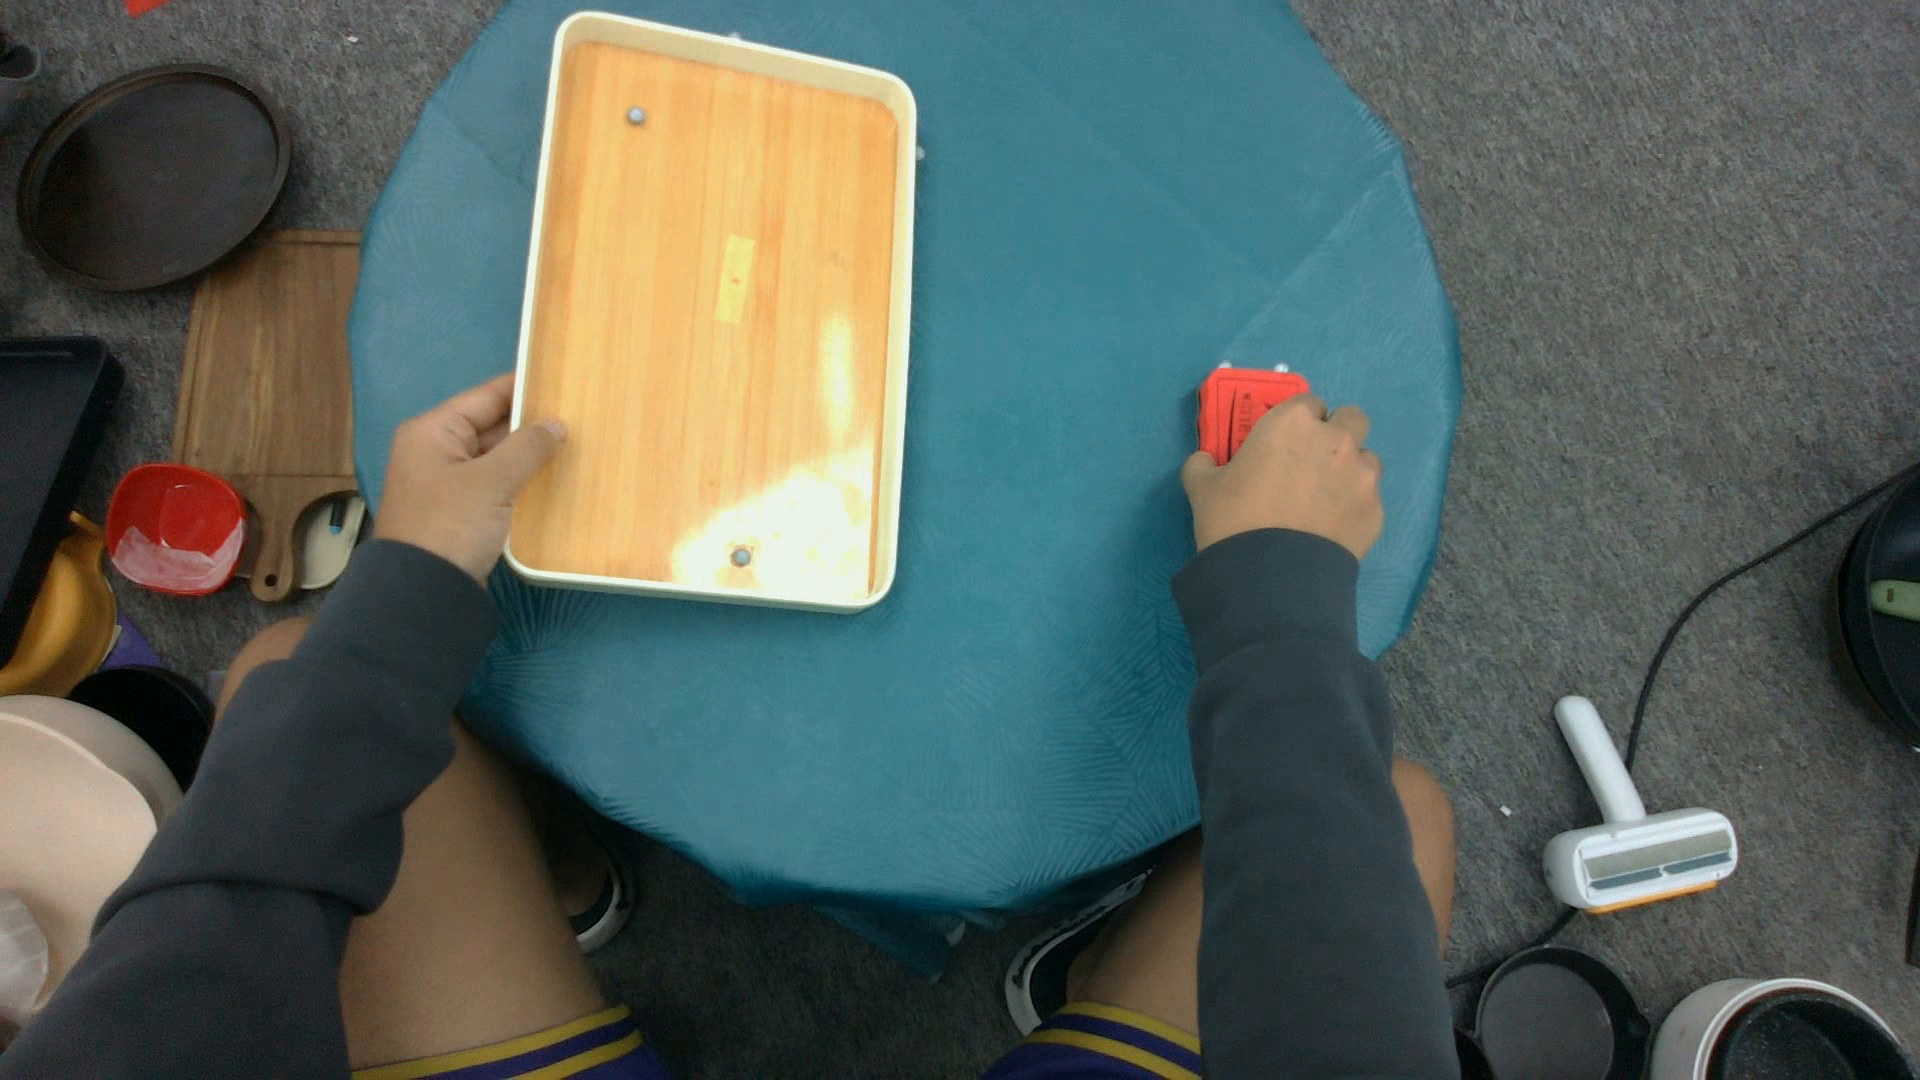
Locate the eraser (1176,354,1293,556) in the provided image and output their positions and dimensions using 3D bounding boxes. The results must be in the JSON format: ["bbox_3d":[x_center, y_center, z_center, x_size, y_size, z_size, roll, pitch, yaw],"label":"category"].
[{"bbox_3d":[0.146,-0.046,0.739,0.059,0.023,0.108,0,77,2],"label":"eraser"}]

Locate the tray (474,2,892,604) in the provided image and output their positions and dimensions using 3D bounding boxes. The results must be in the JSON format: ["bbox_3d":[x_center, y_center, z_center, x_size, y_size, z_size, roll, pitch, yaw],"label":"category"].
[{"bbox_3d":[-0.135,-0.122,0.707,0.192,0.027,0.301,6,75,-18],"label":"tray"}]
